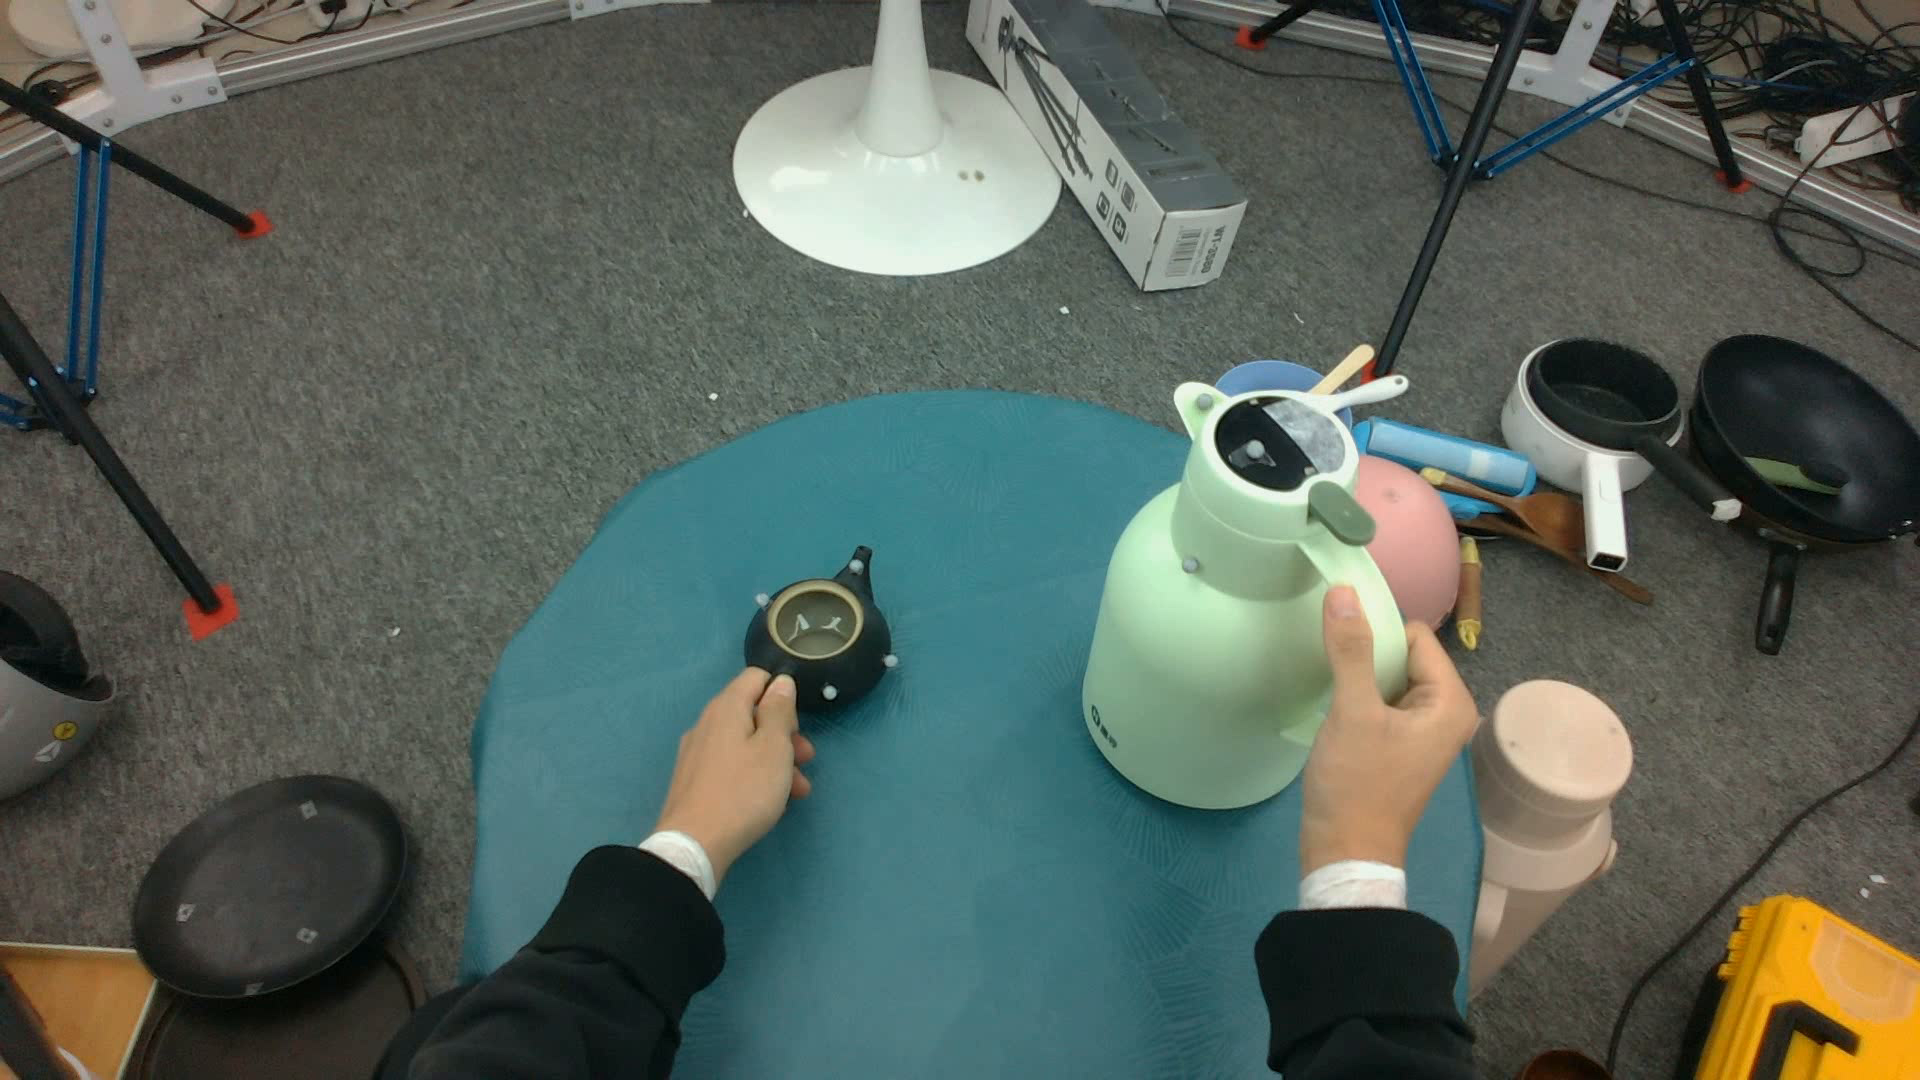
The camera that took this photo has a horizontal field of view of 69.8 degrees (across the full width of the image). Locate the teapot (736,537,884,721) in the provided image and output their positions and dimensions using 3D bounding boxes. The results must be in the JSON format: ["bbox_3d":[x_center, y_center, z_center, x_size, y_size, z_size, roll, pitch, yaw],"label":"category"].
[{"bbox_3d":[-0.093,0.059,0.846,0.091,0.053,0.134,21,52,13],"label":"teapot"}]

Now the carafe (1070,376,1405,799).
[{"bbox_3d":[0.156,0.038,0.759,0.144,0.255,0.187,-23,60,-22],"label":"carafe"}]
